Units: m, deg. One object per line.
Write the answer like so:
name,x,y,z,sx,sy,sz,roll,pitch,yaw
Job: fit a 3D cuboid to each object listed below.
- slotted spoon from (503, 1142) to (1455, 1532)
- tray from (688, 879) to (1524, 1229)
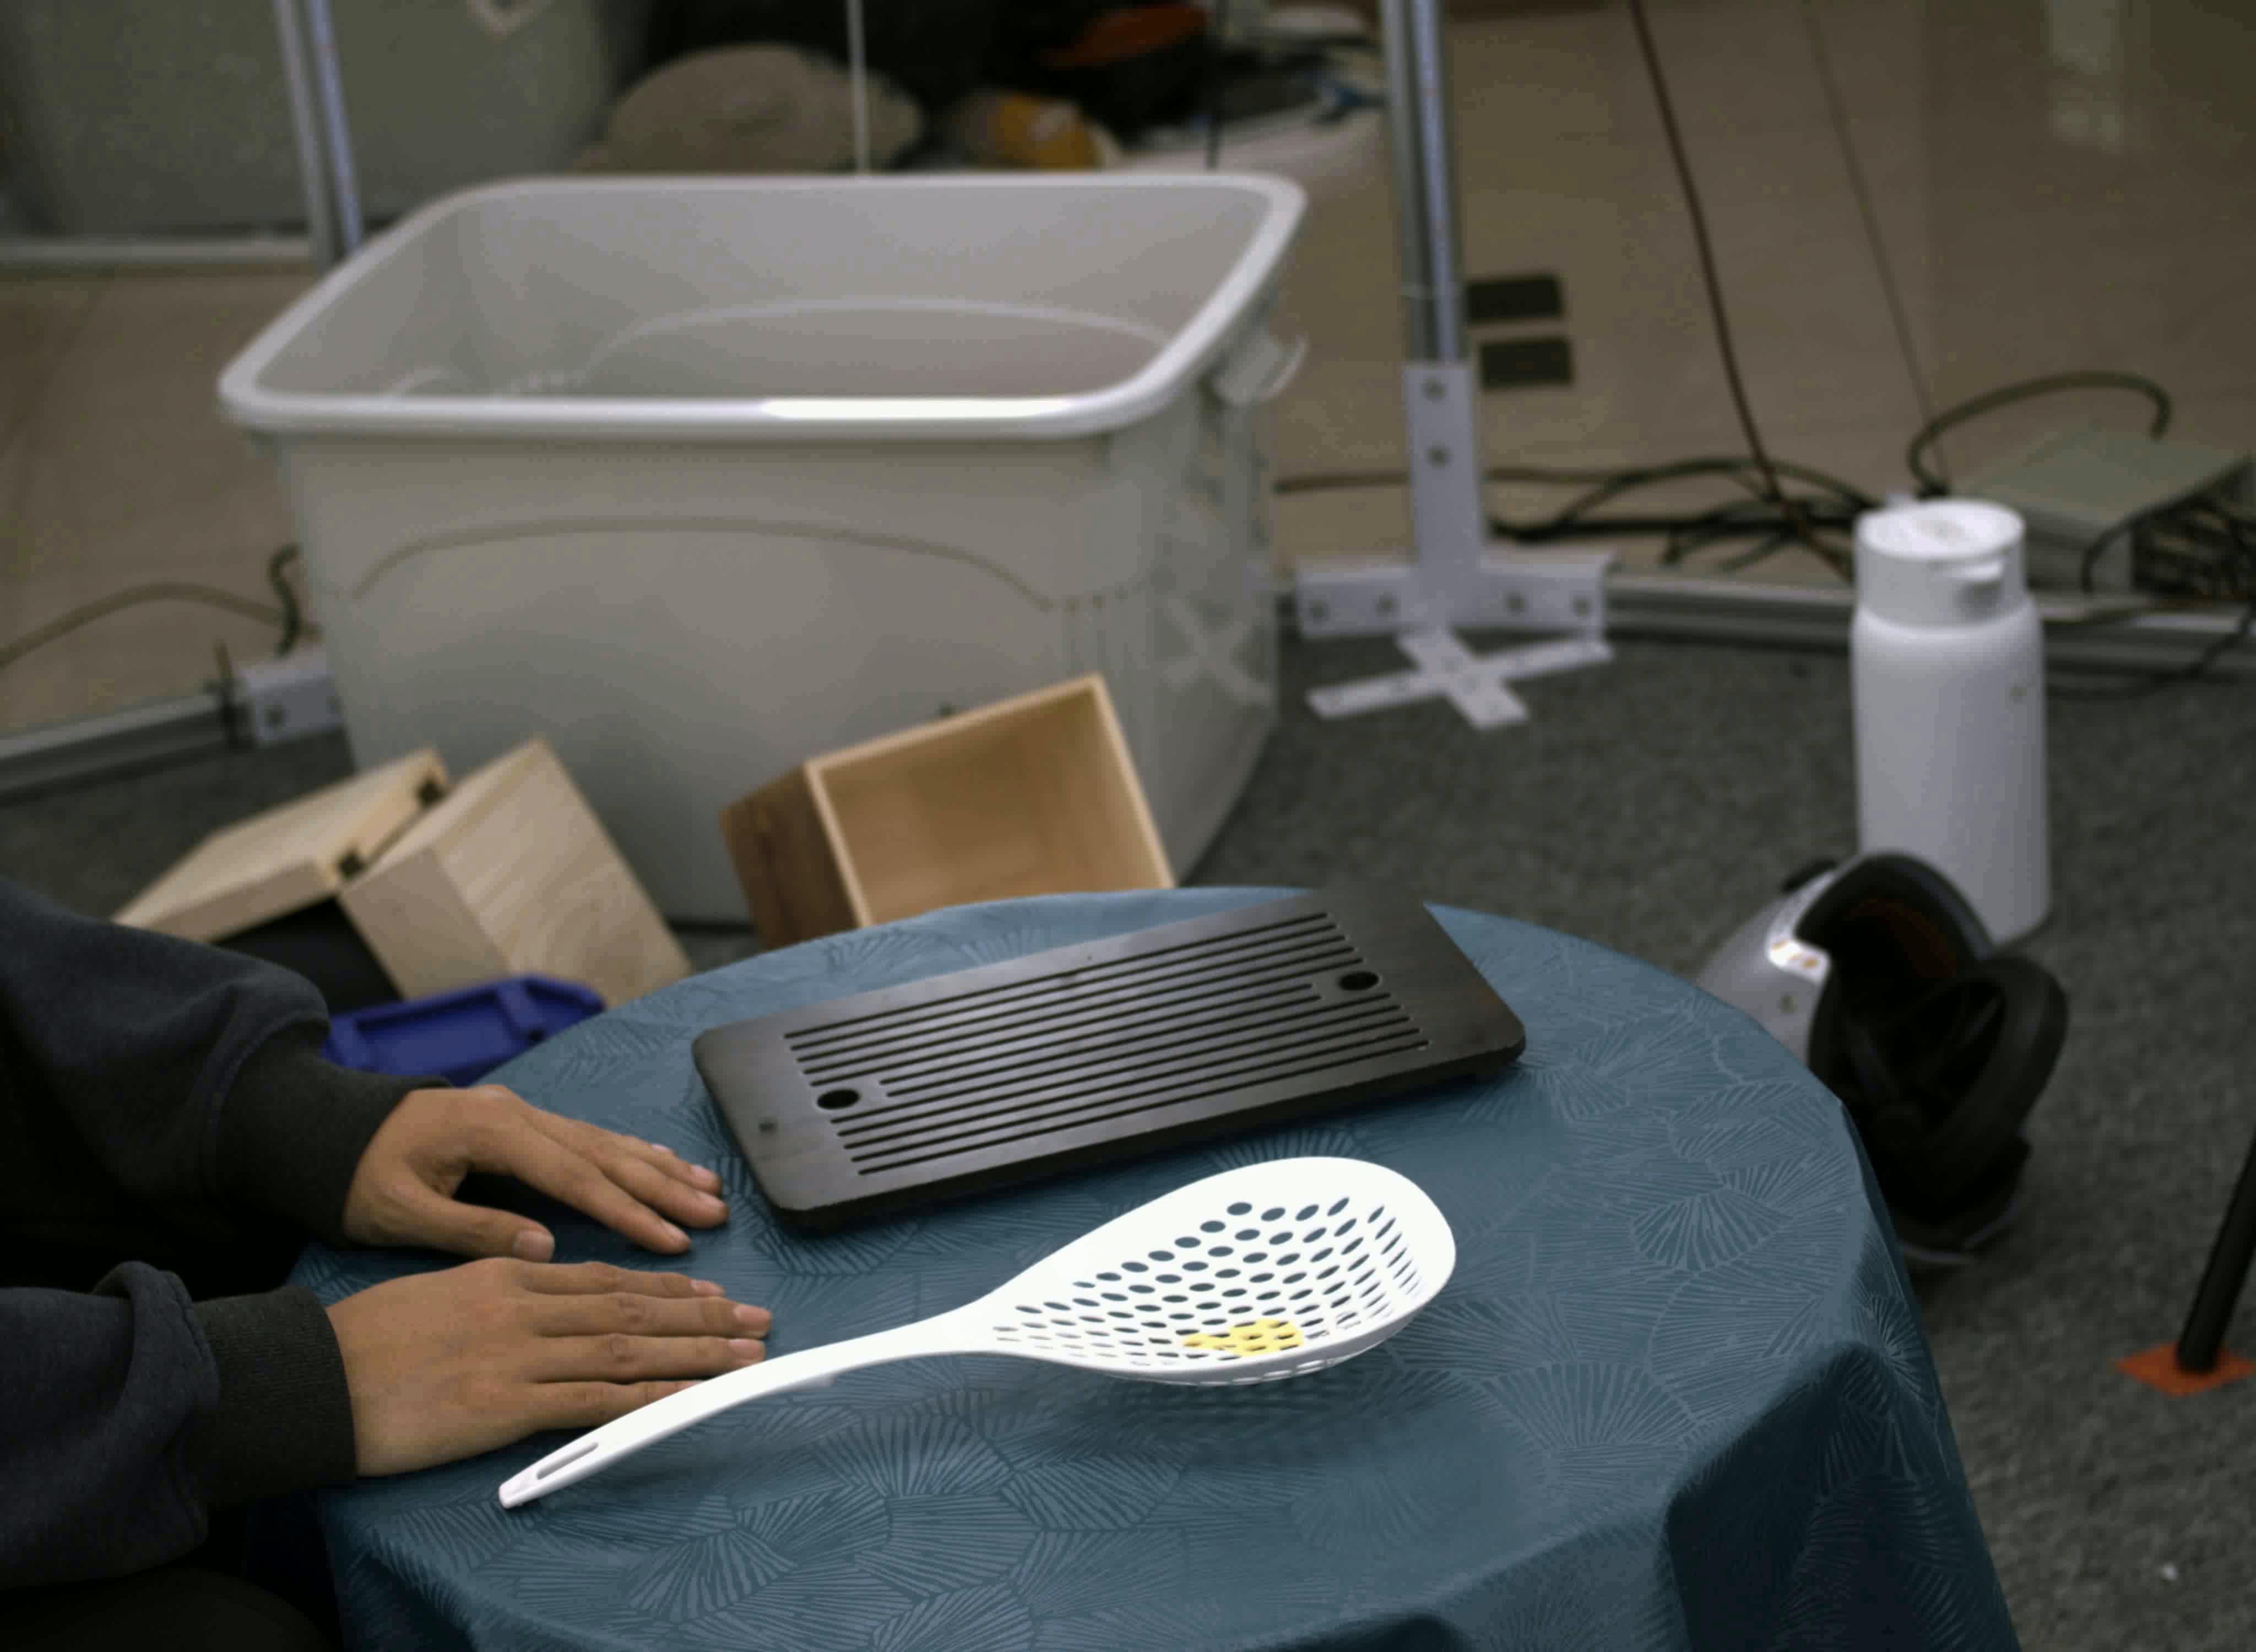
slotted spoon,-0.054,0.188,2.006,0.347,0.051,0.135,-11,27,-9
tray,-0.011,0.089,2.236,0.305,0.019,0.168,-12,25,-12
